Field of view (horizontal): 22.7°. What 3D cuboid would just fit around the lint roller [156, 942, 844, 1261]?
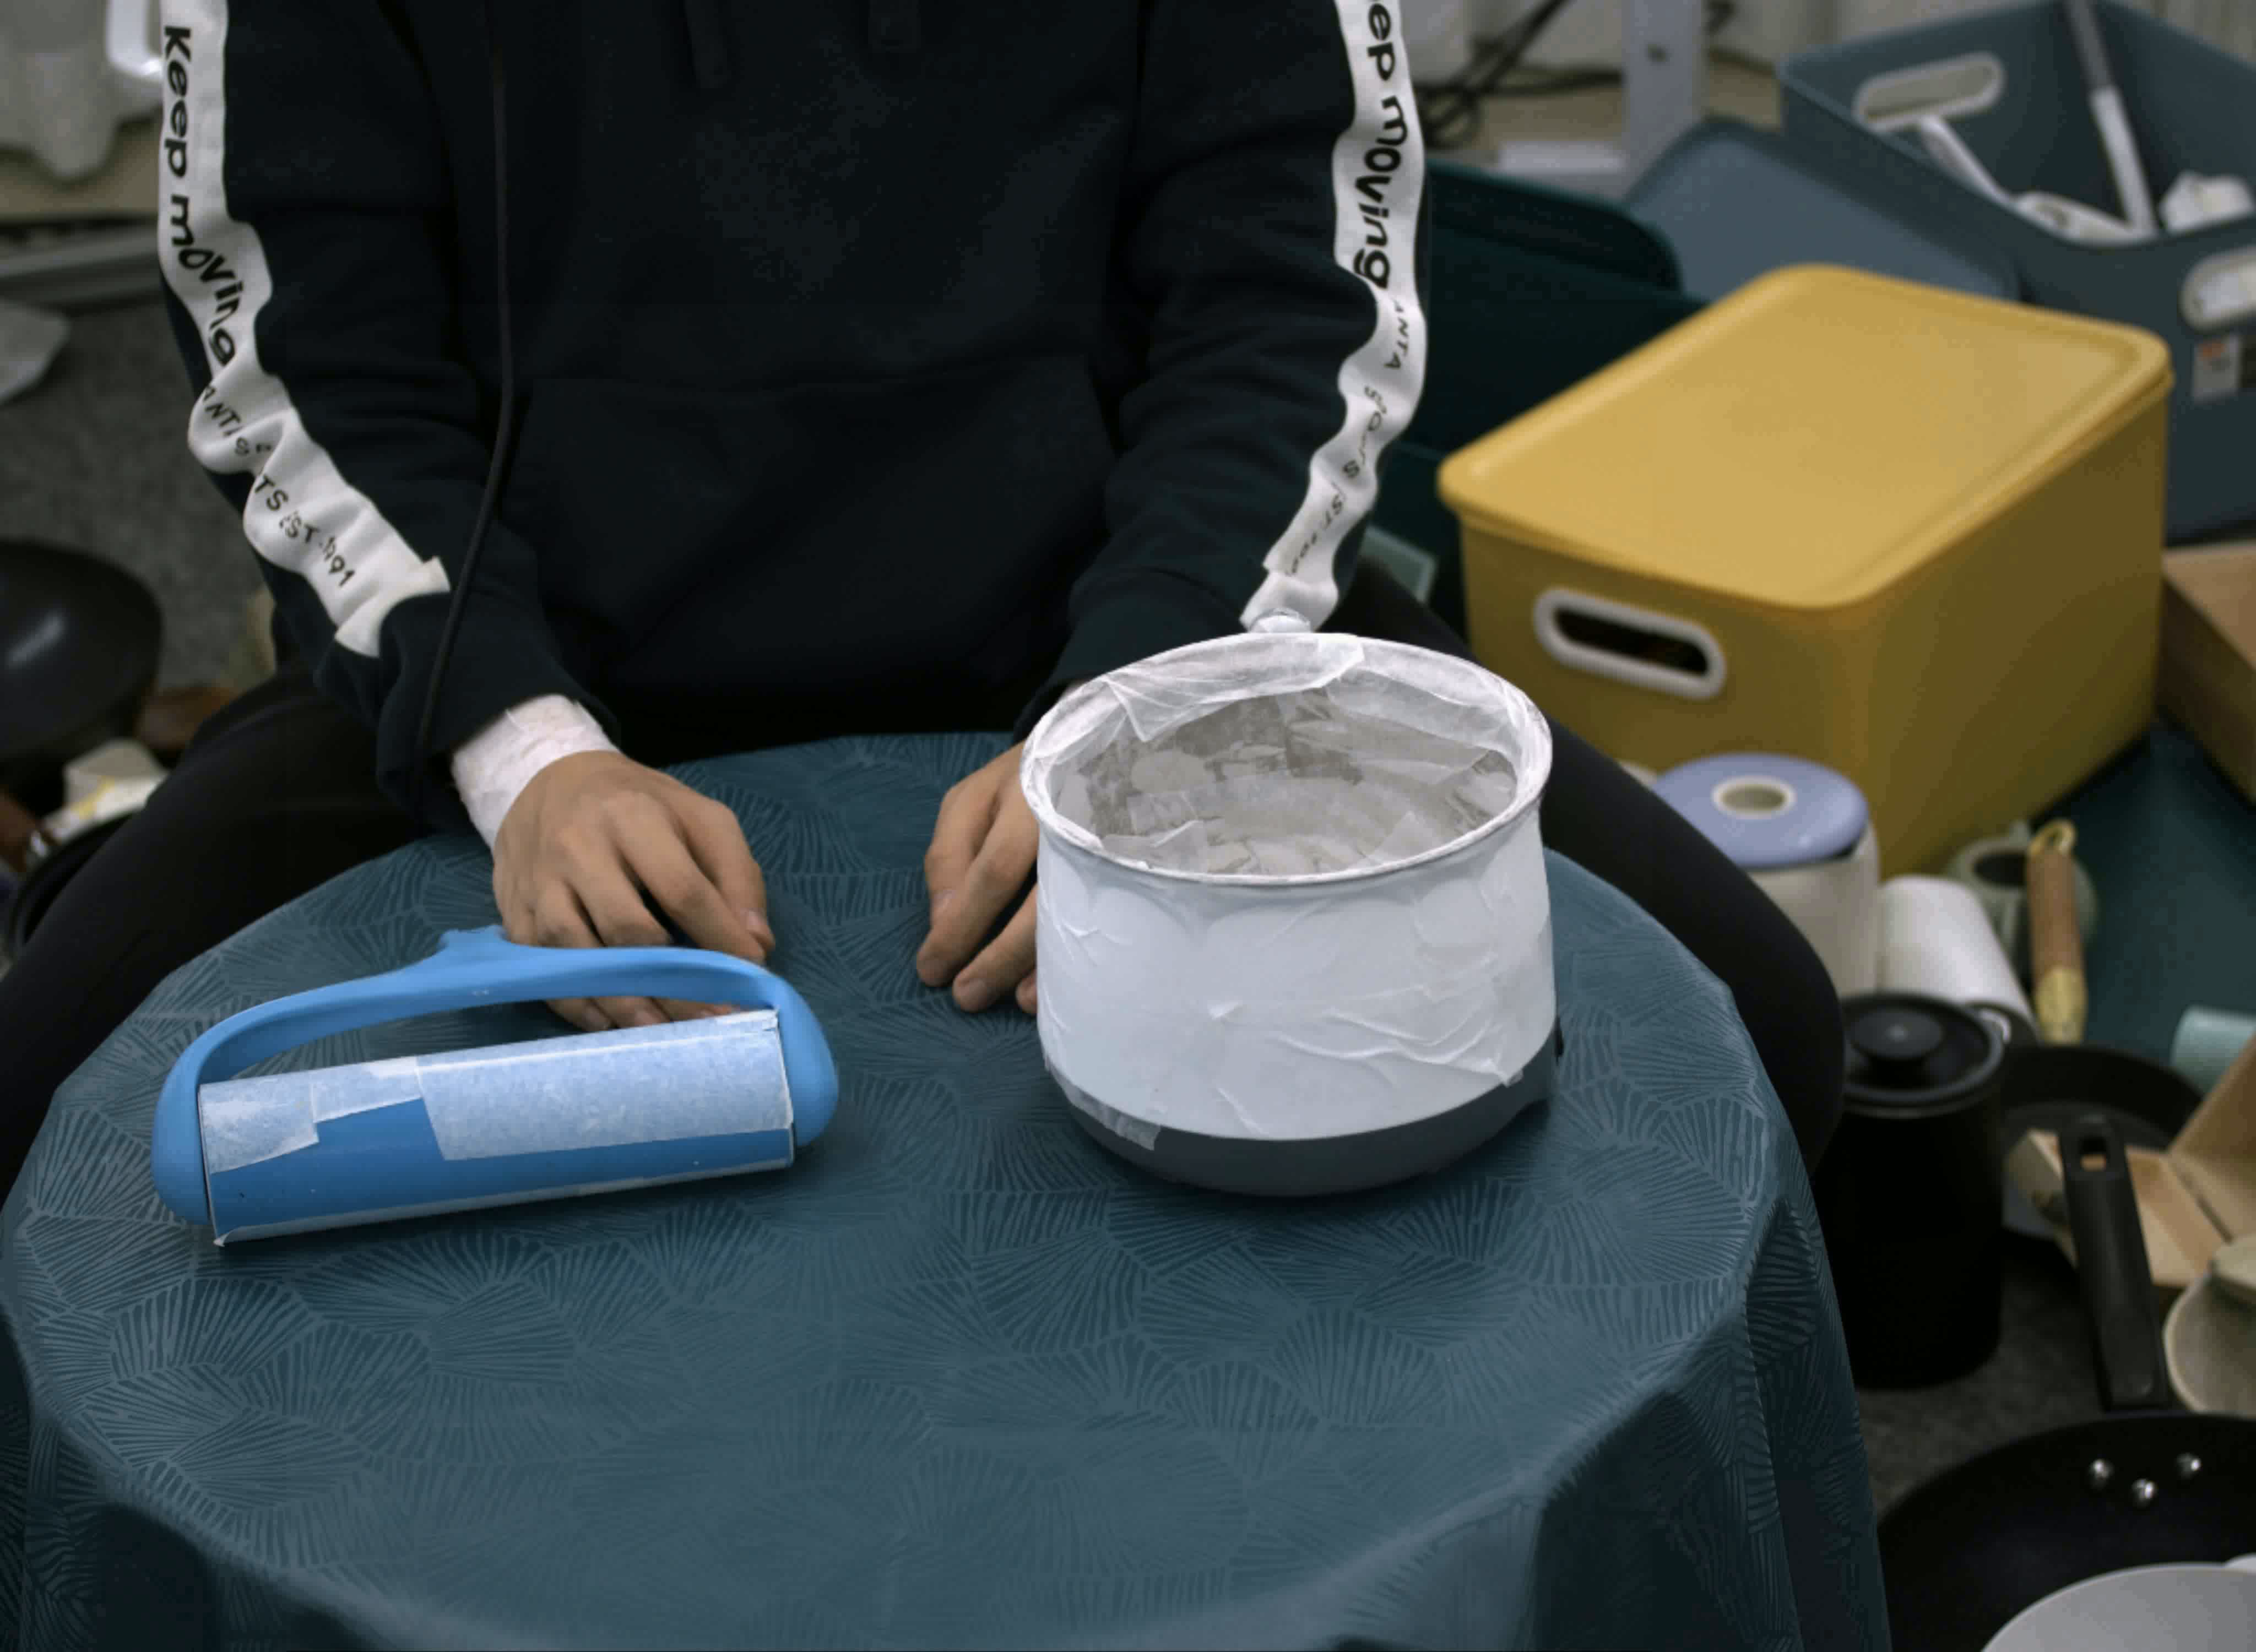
[{"bbox_3d":[-0.221,0.075,1.912,0.229,0.067,0.182,-11,29,-11],"label":"lint roller"}]

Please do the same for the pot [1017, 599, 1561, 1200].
[{"bbox_3d":[0.055,0.017,1.904,0.178,0.135,0.237,-3,29,0],"label":"pot"}]
